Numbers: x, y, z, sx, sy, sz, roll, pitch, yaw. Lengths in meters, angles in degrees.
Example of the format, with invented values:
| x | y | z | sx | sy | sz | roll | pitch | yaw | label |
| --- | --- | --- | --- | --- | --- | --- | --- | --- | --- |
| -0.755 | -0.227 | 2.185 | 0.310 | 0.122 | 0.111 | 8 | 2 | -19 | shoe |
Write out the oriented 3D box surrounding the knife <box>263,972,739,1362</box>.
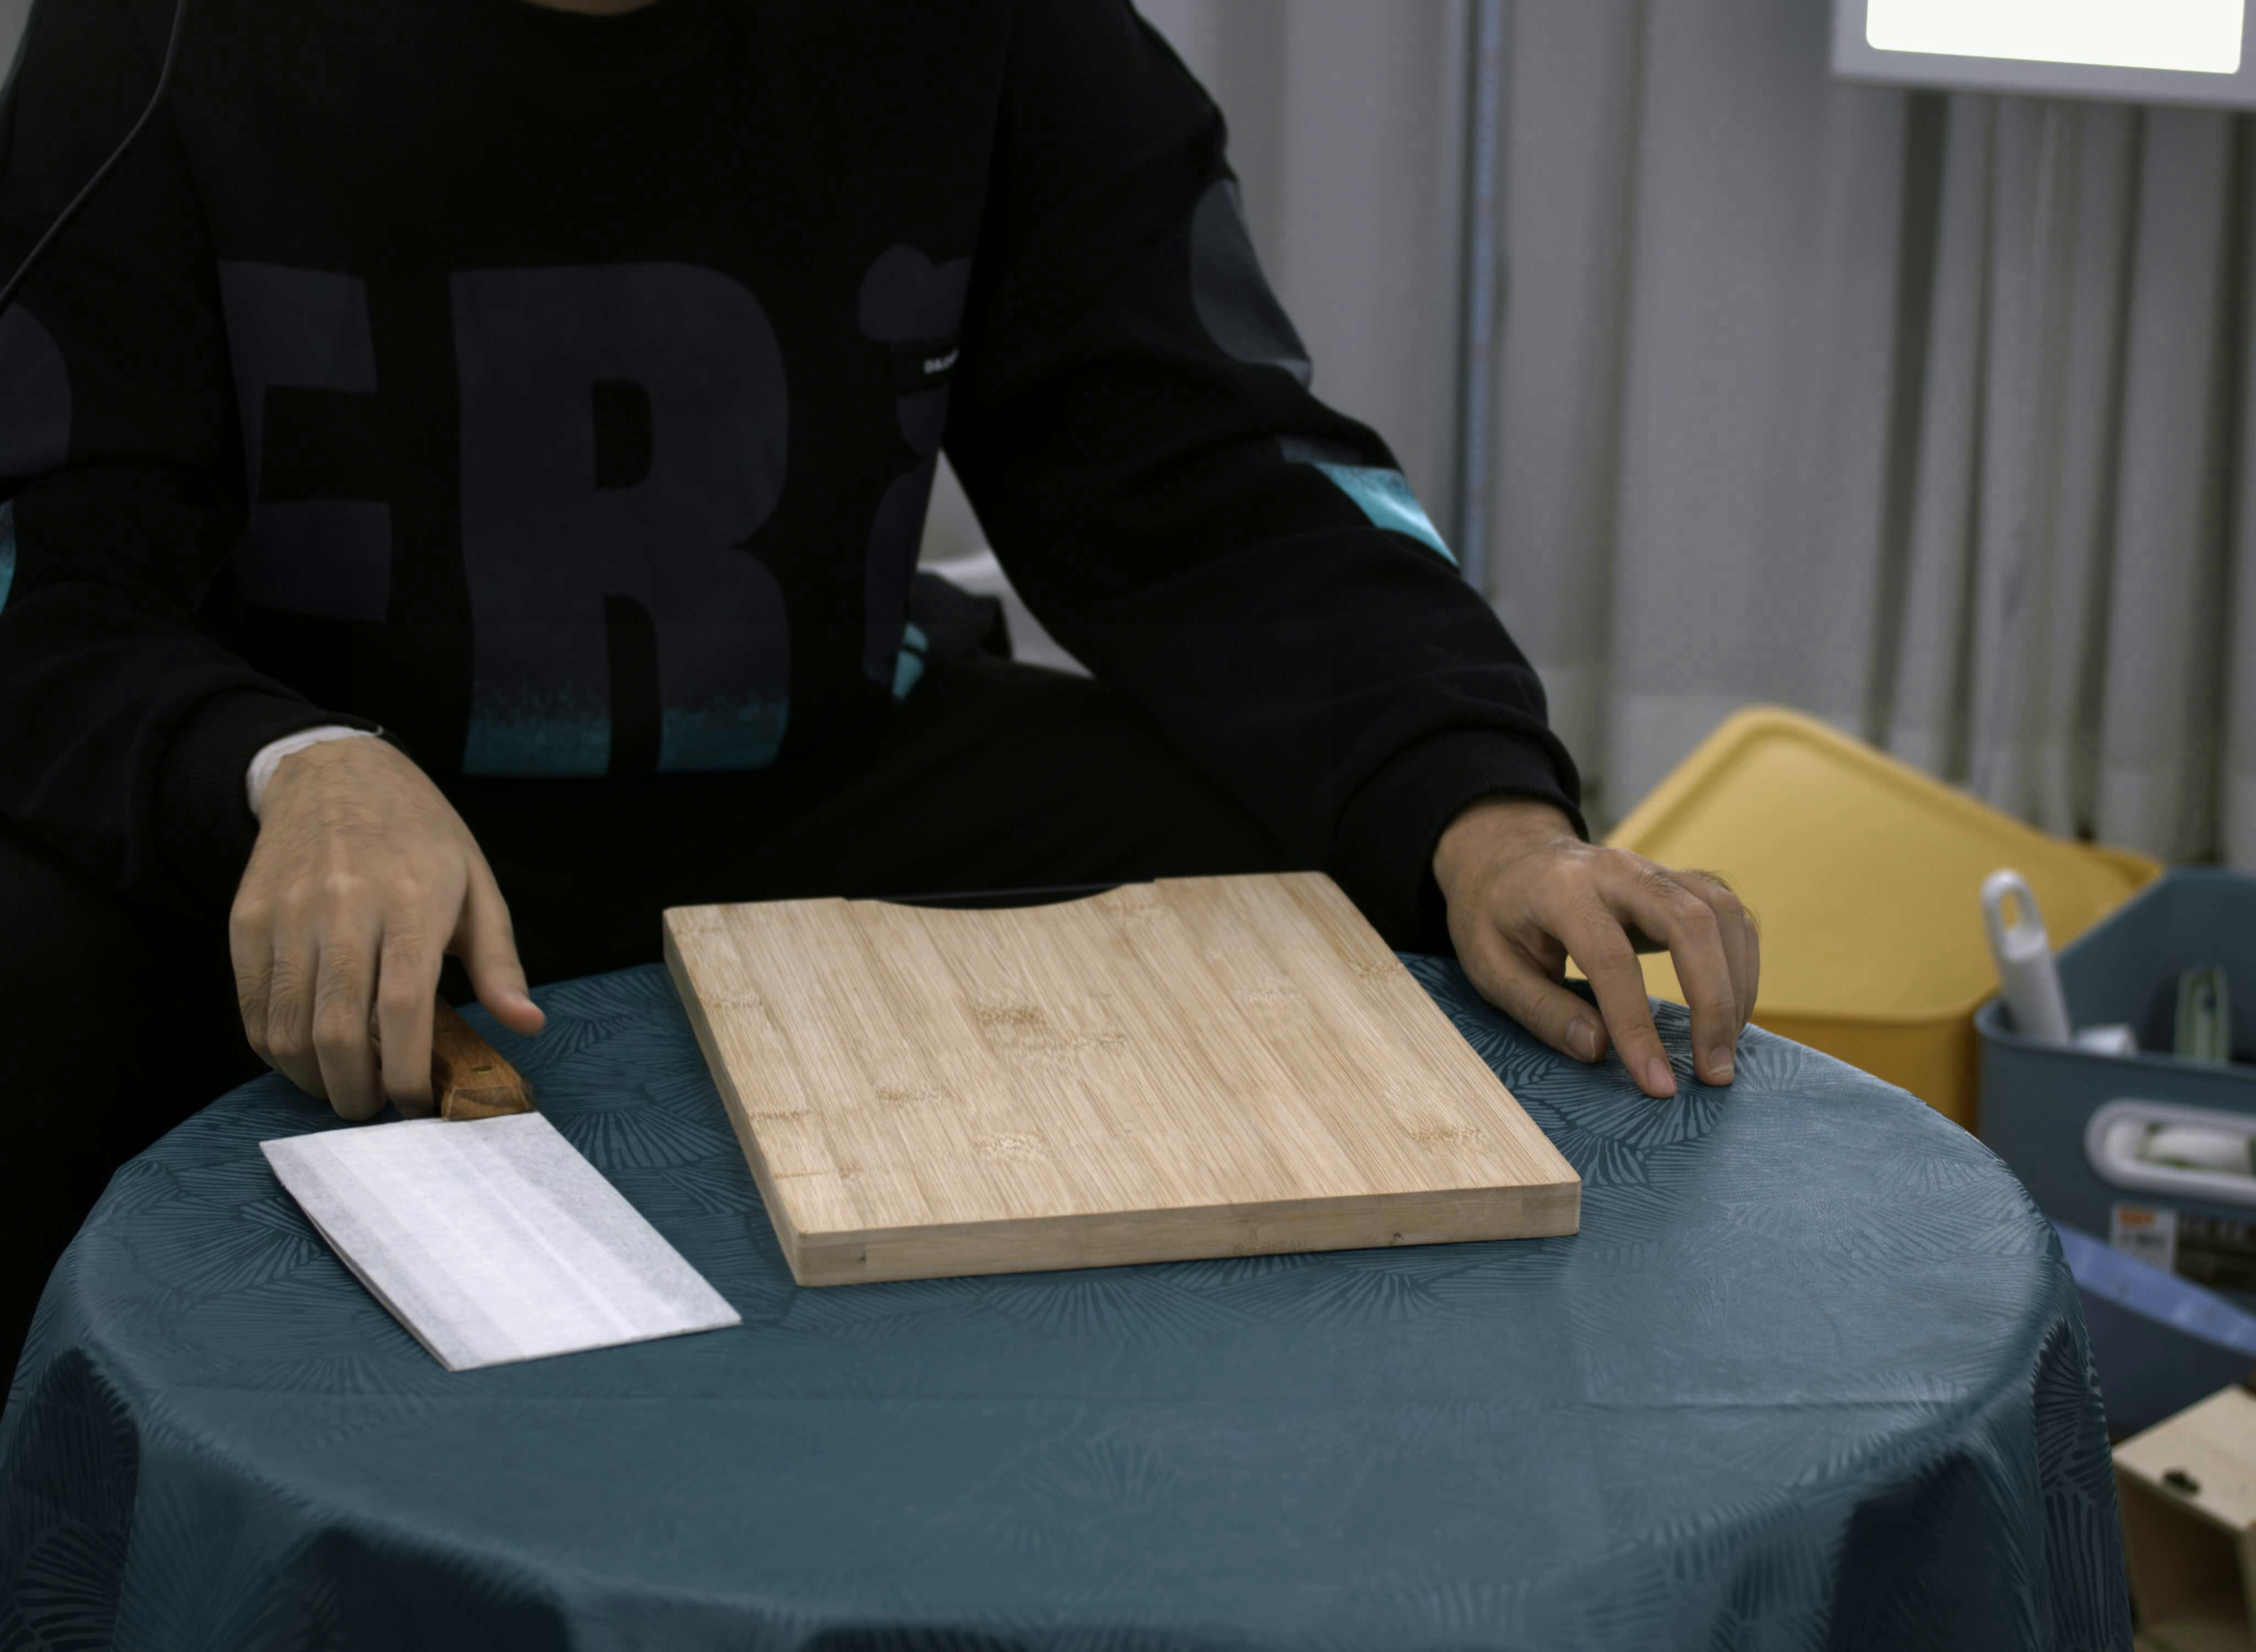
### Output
| x | y | z | sx | sy | sz | roll | pitch | yaw | label |
| --- | --- | --- | --- | --- | --- | --- | --- | --- | --- |
| -0.212 | 0.104 | 1.619 | 0.093 | 0.021 | 0.302 | -8 | 20 | -24 | knife |

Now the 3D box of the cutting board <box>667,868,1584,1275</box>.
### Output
| x | y | z | sx | sy | sz | roll | pitch | yaw | label |
| --- | --- | --- | --- | --- | --- | --- | --- | --- | --- |
| -0.013 | 0.075 | 1.724 | 0.251 | 0.024 | 0.345 | -3 | 16 | -12 | cutting board |
